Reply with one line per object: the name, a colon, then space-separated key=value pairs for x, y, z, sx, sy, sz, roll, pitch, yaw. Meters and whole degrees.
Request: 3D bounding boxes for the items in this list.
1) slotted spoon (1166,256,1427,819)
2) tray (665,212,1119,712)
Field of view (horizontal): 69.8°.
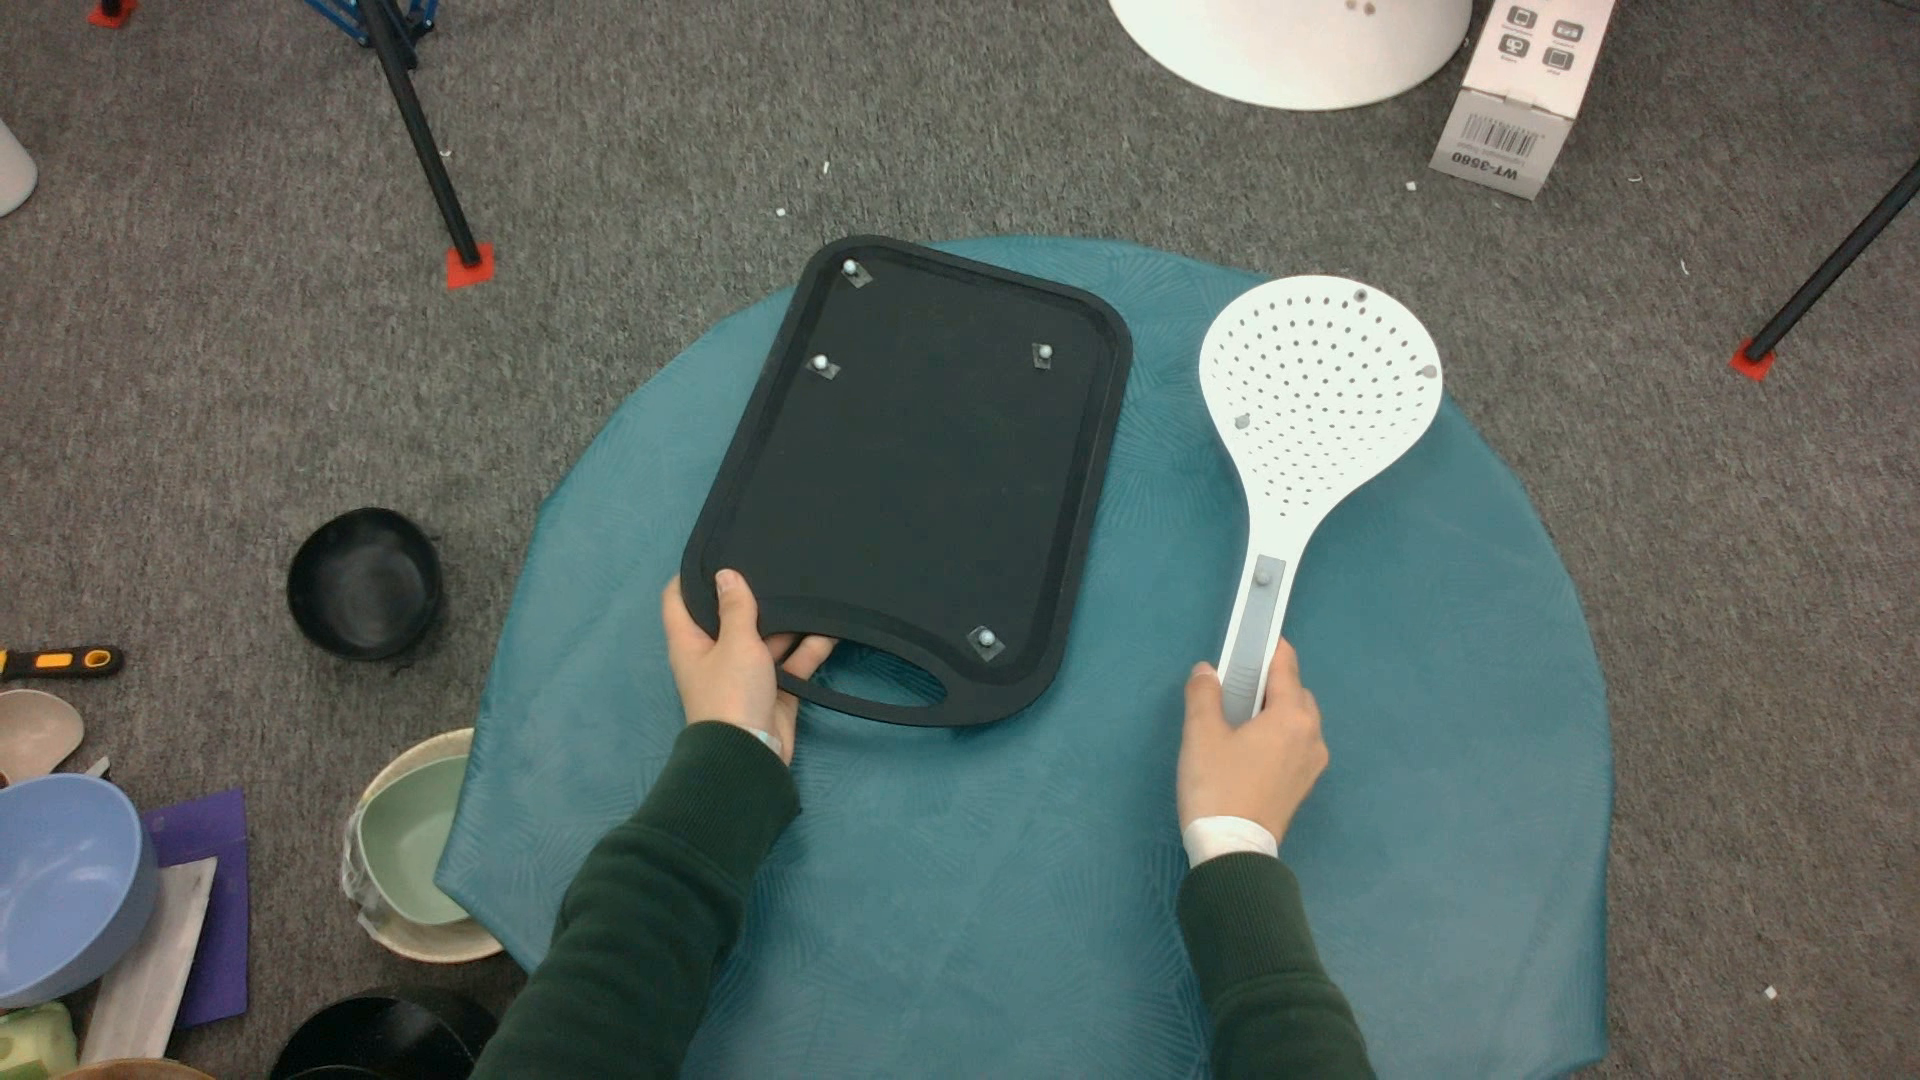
slotted spoon: x=0.169 y=-0.014 z=0.759 sx=0.136 sy=0.045 sz=0.351 roll=14 pitch=60 yaw=12
tray: x=-0.030 y=-0.055 z=0.781 sx=0.211 sy=0.010 sz=0.327 roll=16 pitch=59 yaw=0
